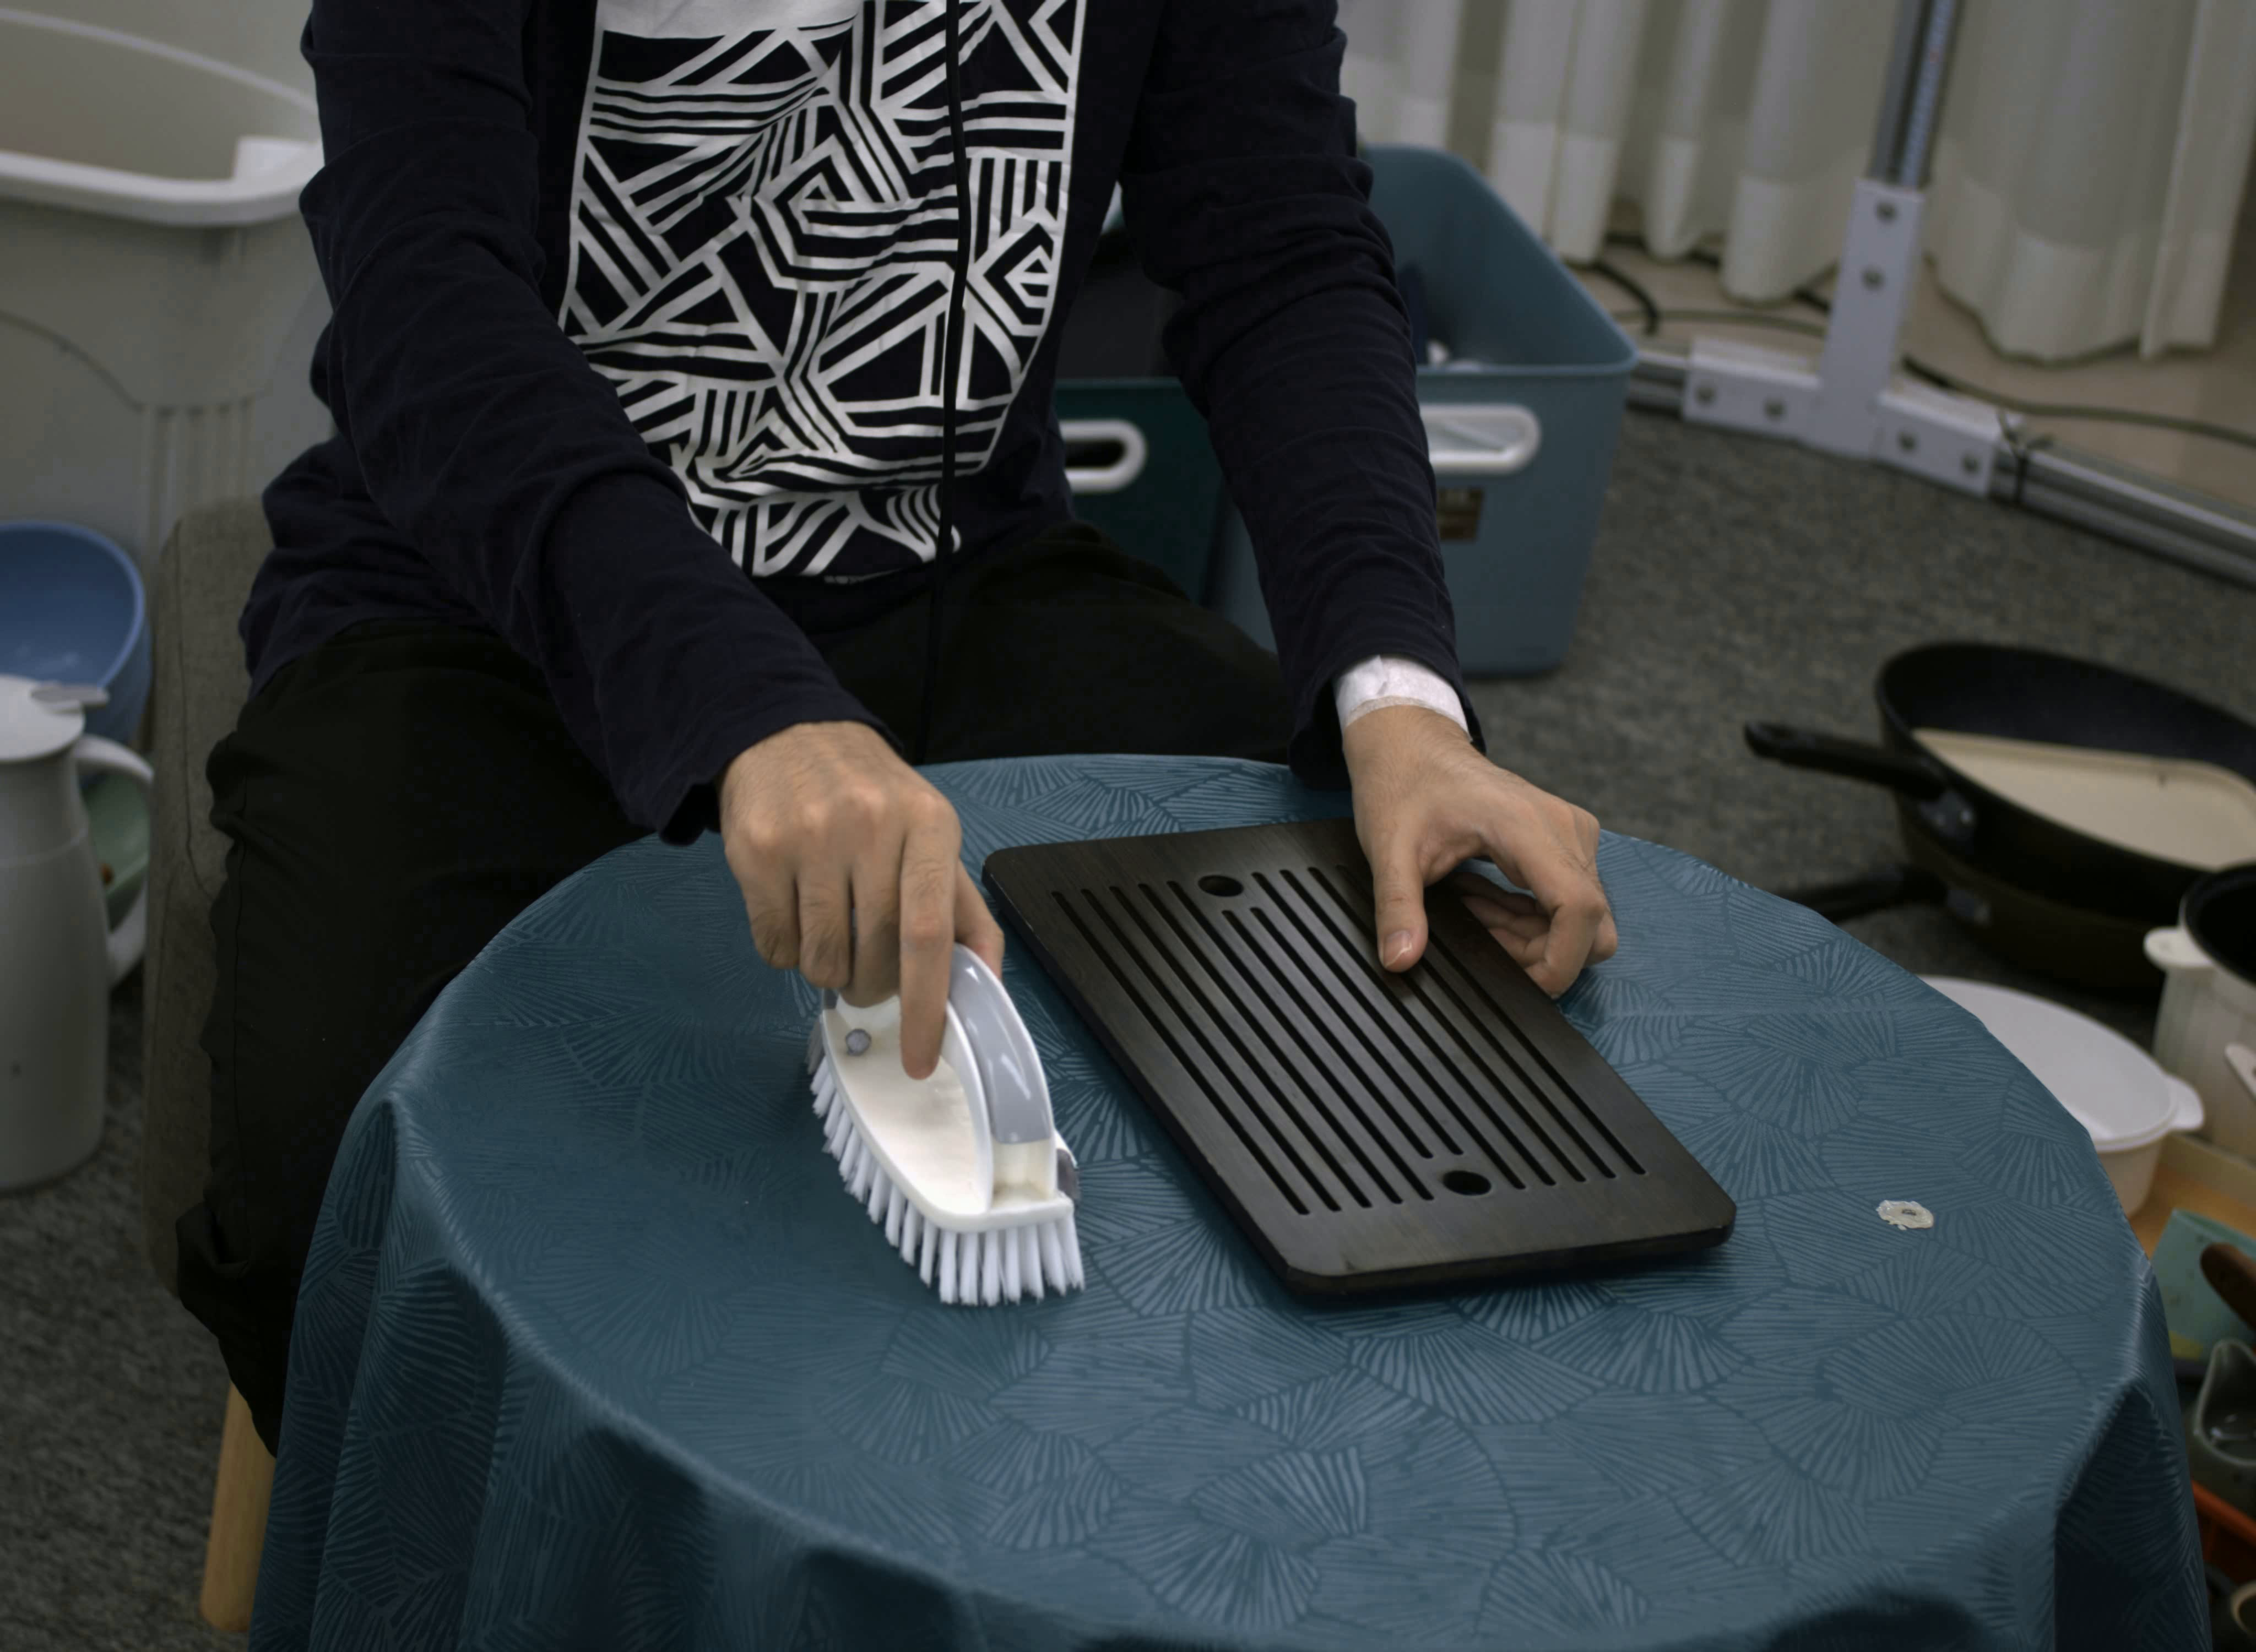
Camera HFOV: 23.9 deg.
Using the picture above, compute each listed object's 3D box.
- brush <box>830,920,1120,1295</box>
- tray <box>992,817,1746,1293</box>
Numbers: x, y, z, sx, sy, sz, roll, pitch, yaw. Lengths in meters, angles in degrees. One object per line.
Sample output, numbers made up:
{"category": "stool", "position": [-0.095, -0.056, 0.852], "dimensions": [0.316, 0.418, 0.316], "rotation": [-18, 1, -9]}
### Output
{"category": "brush", "position": [-0.059, 0.079, 1.787], "dimensions": [0.061, 0.094, 0.177], "rotation": [-9, 29, -25]}
{"category": "tray", "position": [0.079, 0.079, 1.893], "dimensions": [0.169, 0.018, 0.309], "rotation": [-5, 29, -22]}
